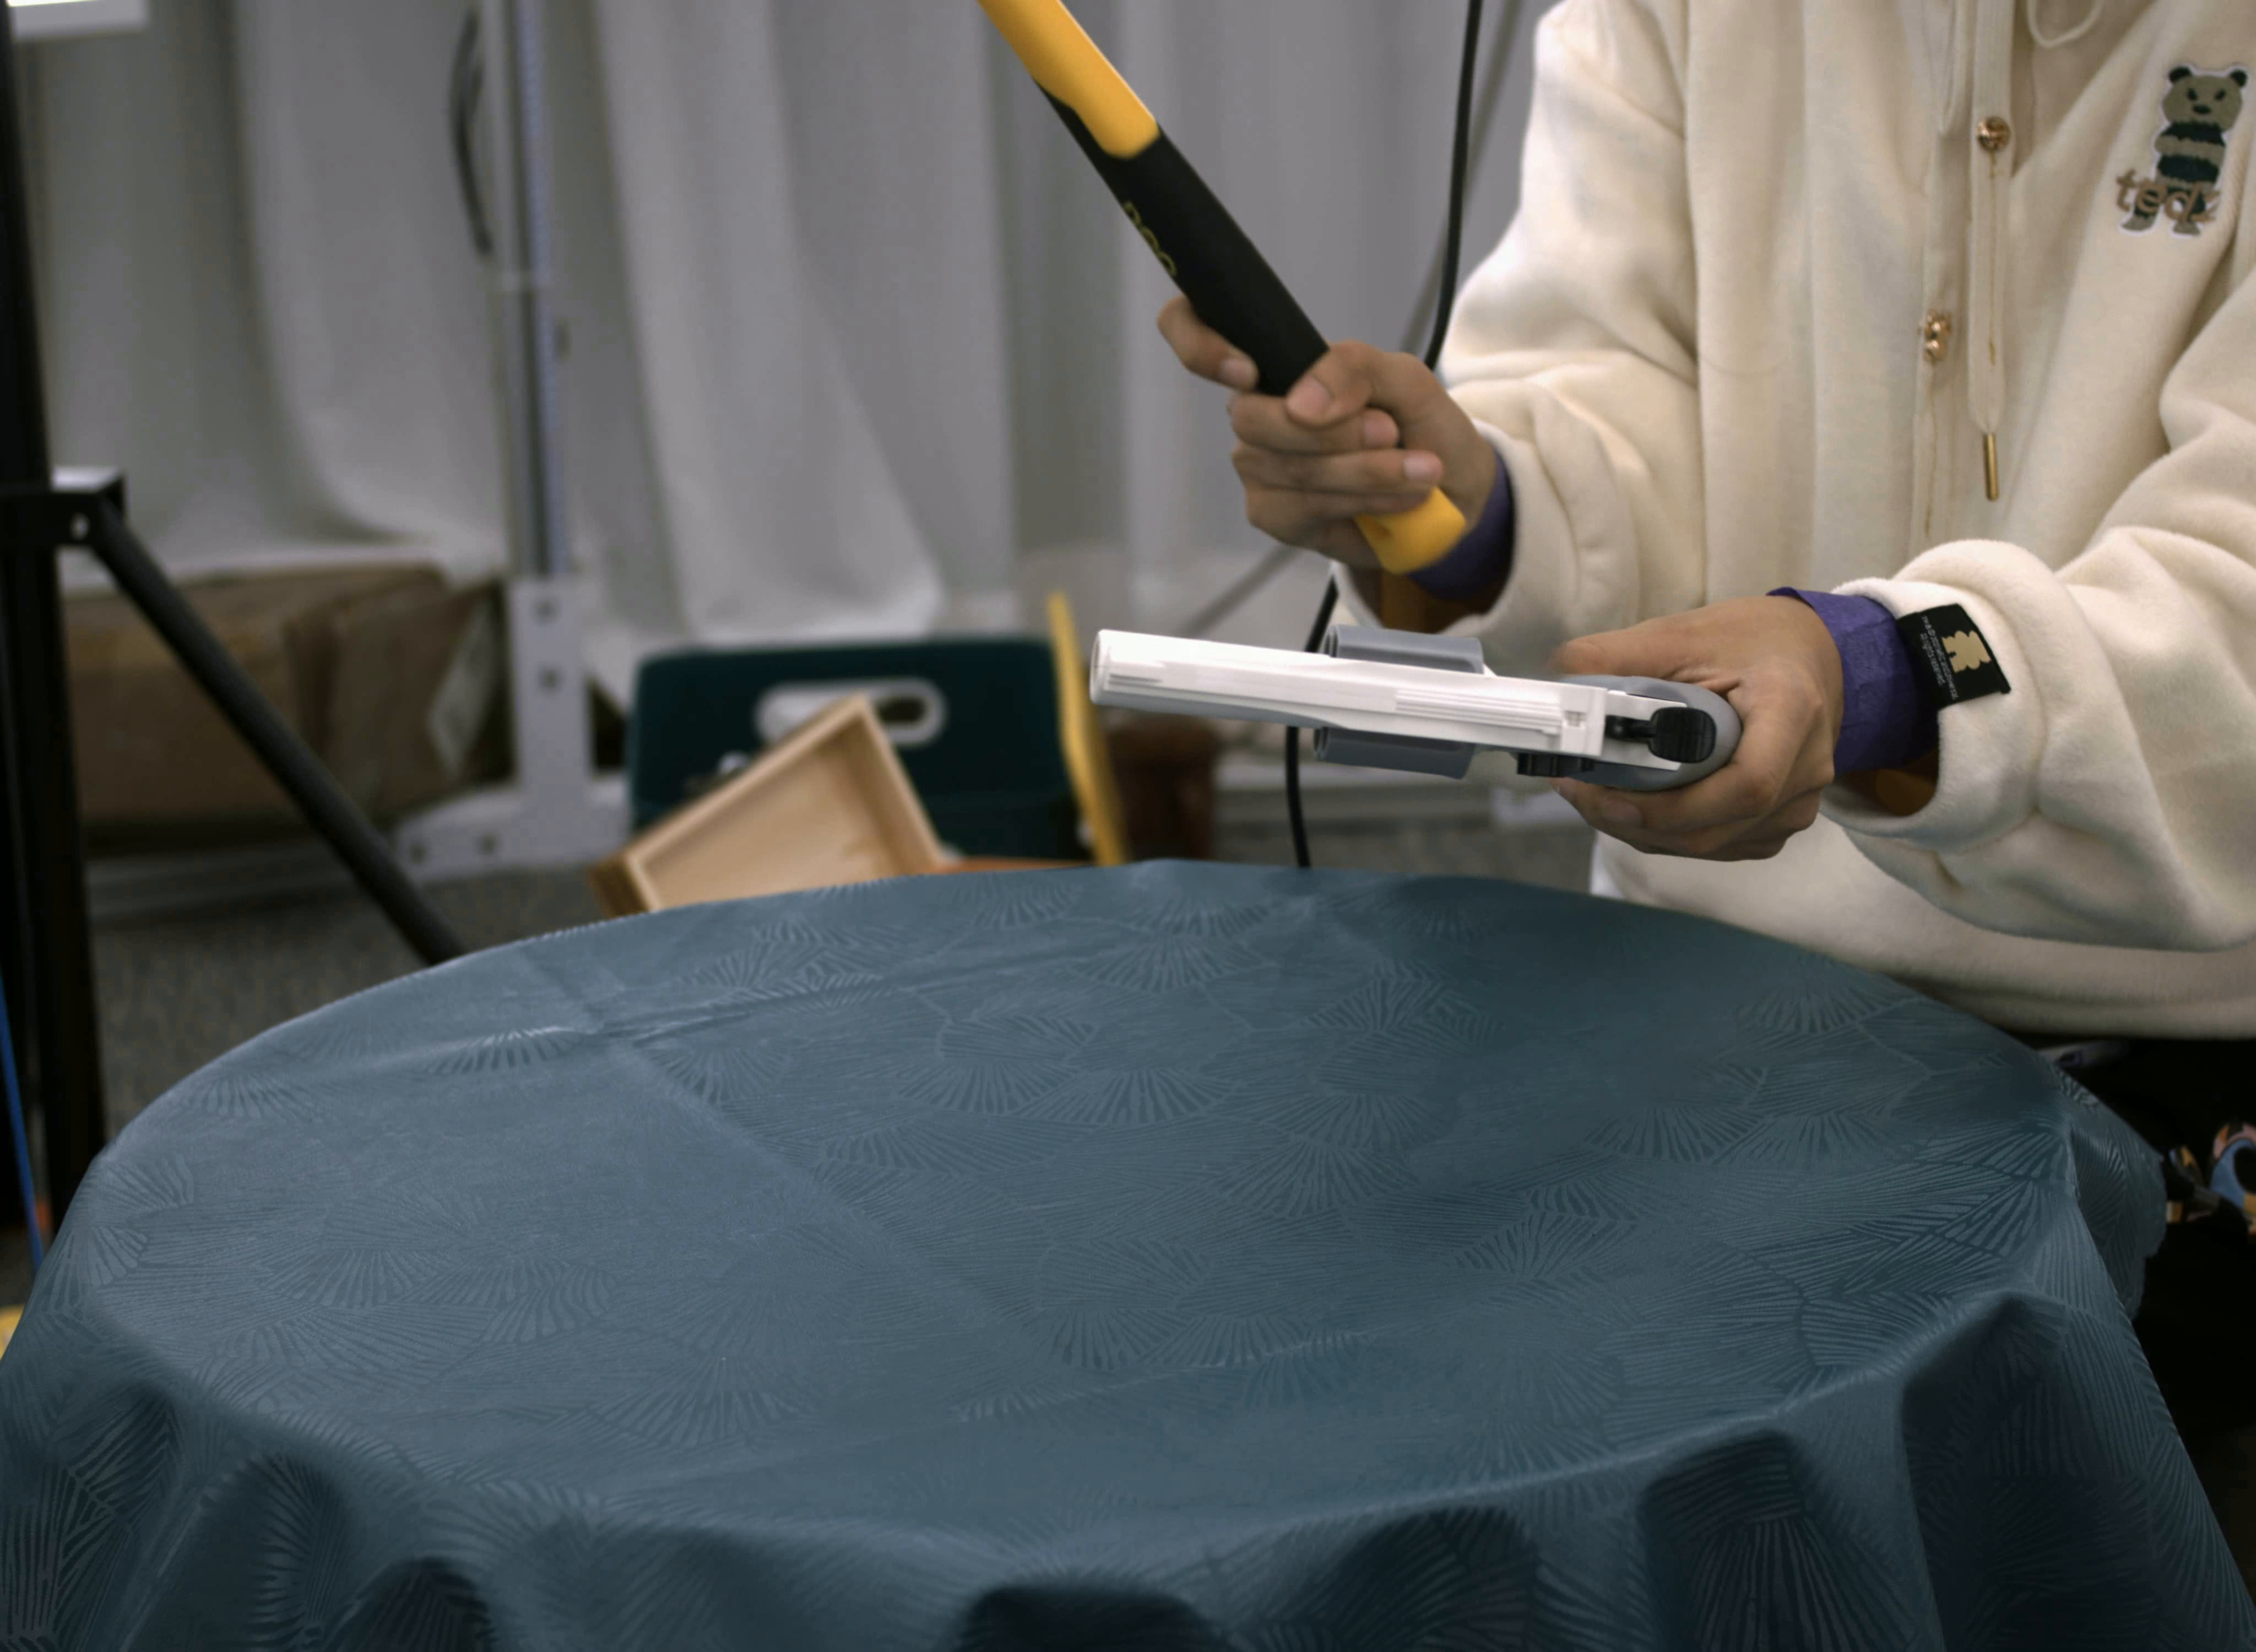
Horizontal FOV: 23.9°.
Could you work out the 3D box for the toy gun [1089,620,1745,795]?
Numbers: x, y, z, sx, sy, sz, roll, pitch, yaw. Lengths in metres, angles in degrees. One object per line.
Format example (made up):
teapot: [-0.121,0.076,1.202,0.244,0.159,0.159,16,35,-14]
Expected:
toy gun: [0.086,-0.034,1.463,0.207,0.039,0.142,7,2,-8]

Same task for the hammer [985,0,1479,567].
hammer: [0.001,-0.220,1.701,0.032,0.337,0.133,-41,9,-17]
